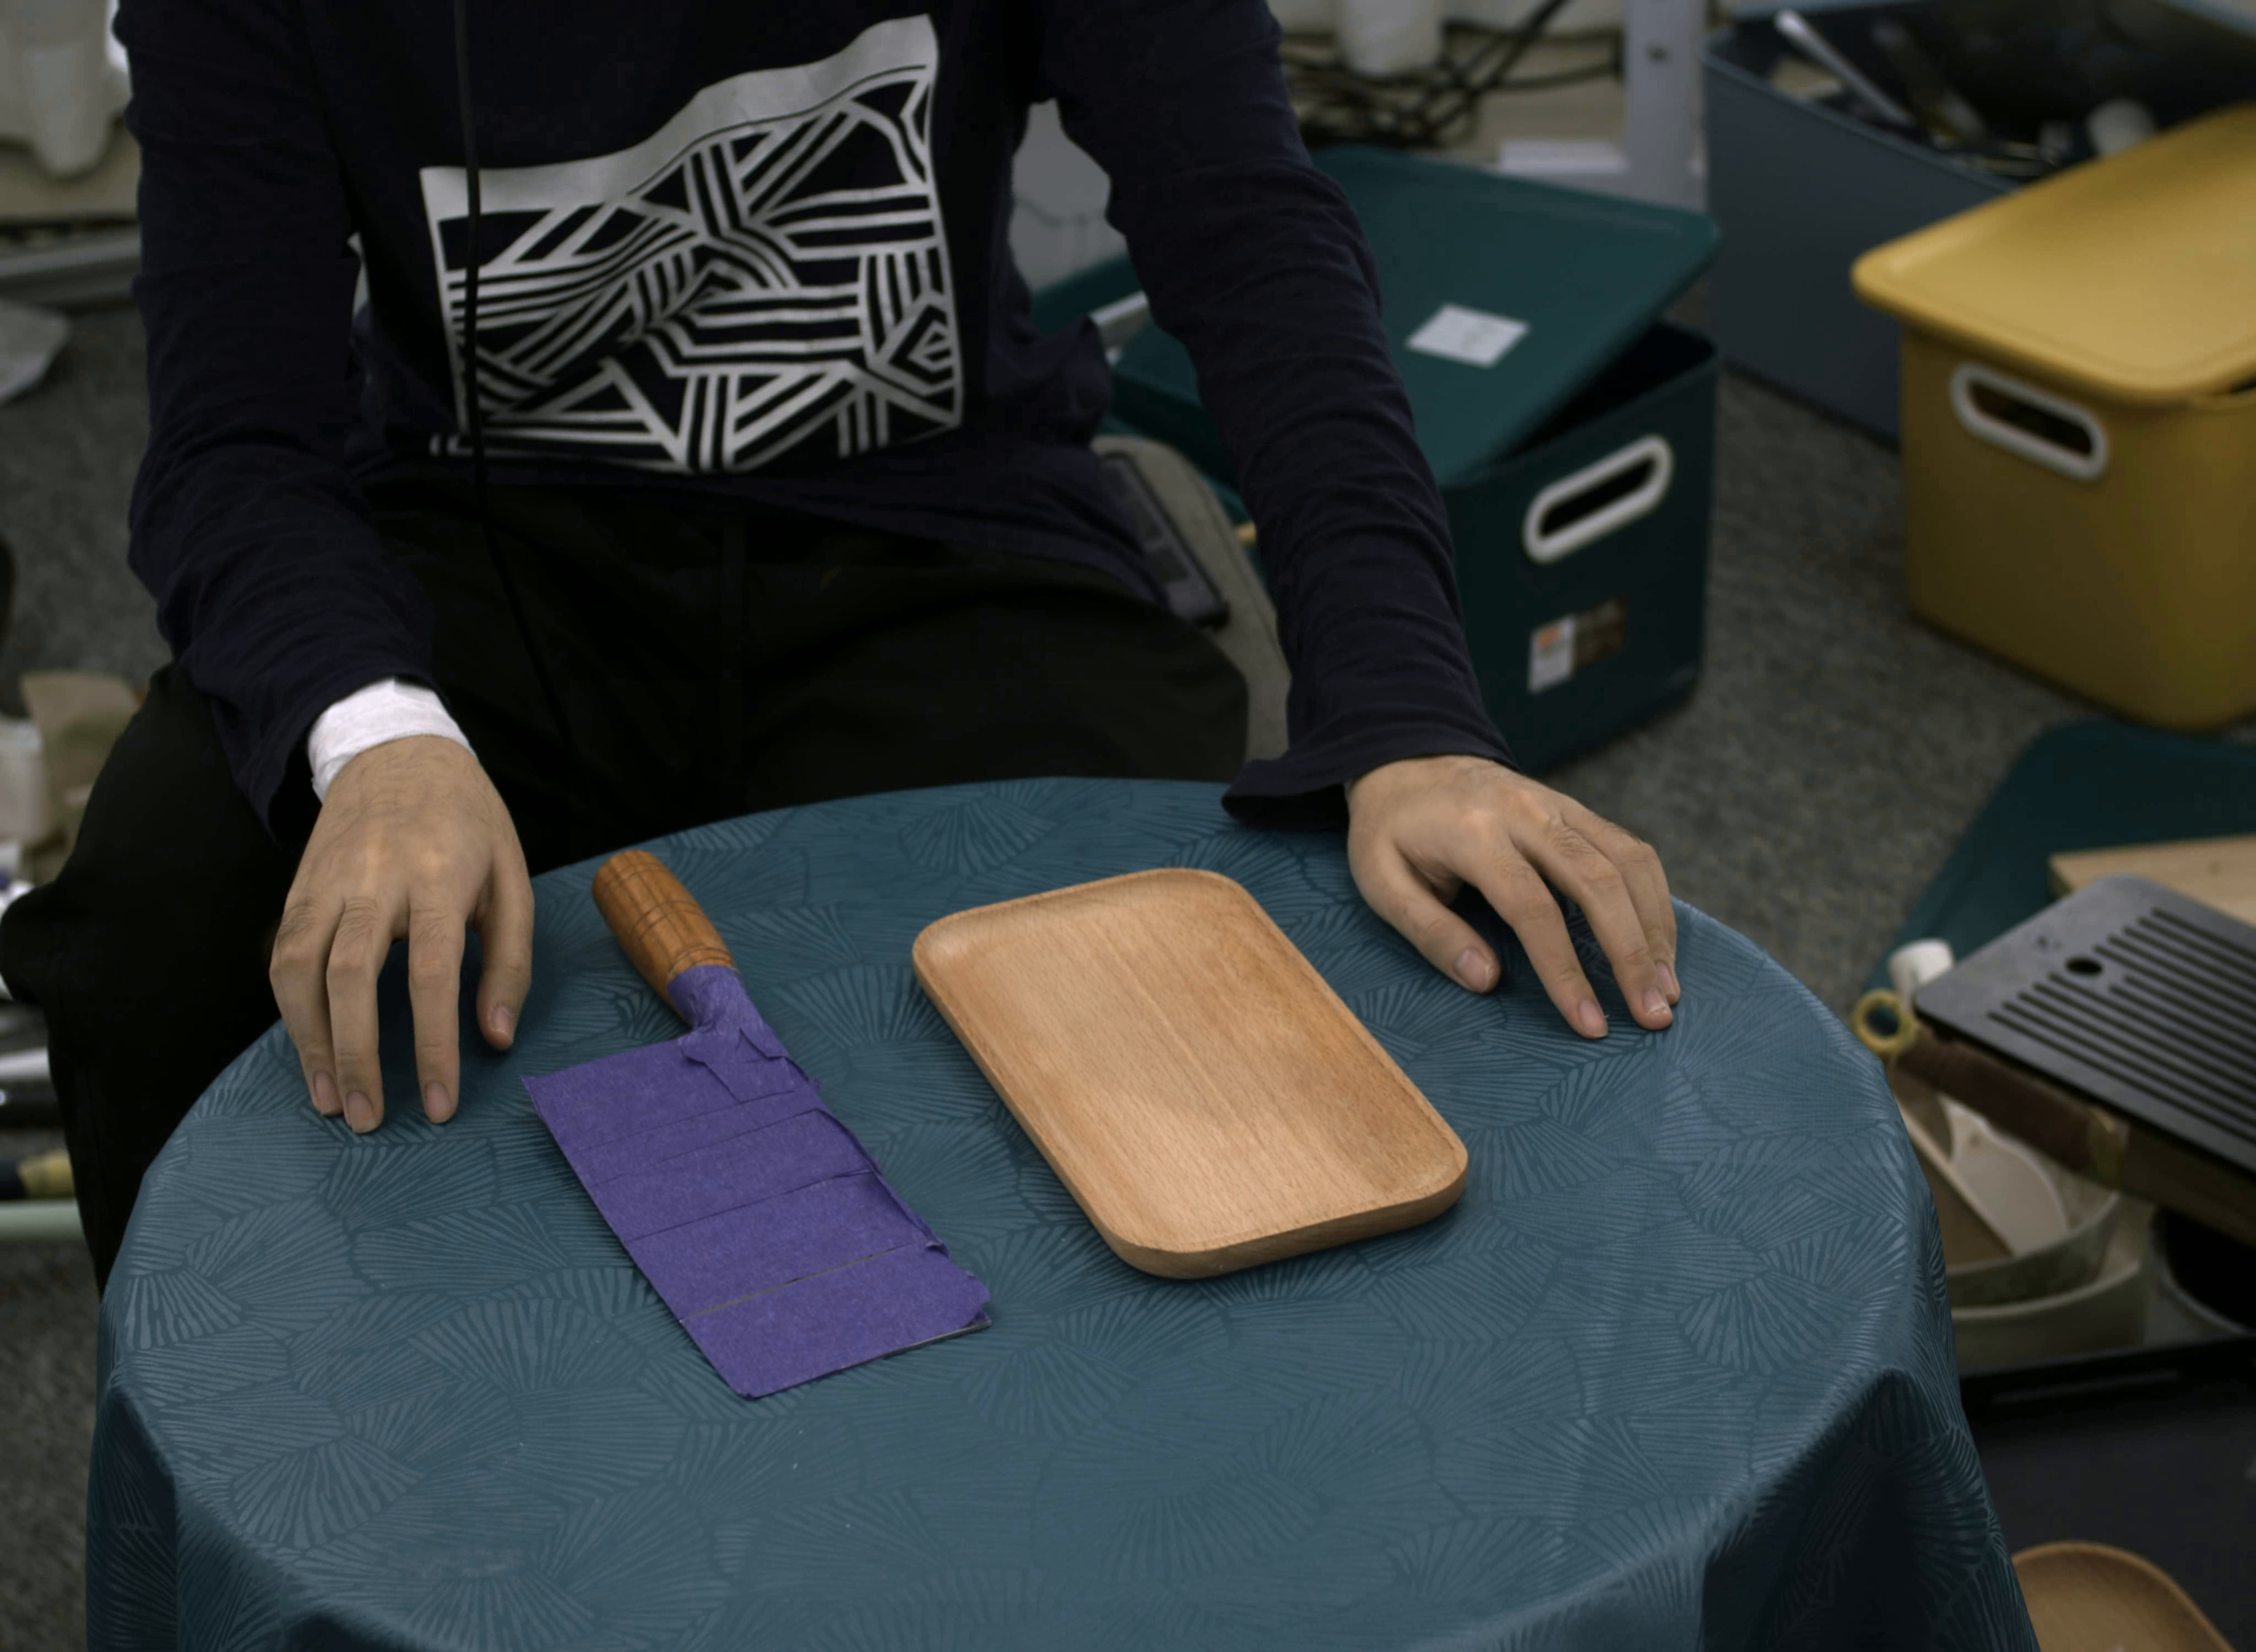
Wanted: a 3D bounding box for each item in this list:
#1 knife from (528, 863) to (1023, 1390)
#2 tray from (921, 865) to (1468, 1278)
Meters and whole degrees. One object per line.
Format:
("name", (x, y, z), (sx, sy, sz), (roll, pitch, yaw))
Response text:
("knife", (-0.145, 0.097, 1.894), (0.104, 0.032, 0.317), (-14, 30, -21))
("tray", (0.019, 0.081, 1.921), (0.131, 0.022, 0.253), (-9, 27, -16))
